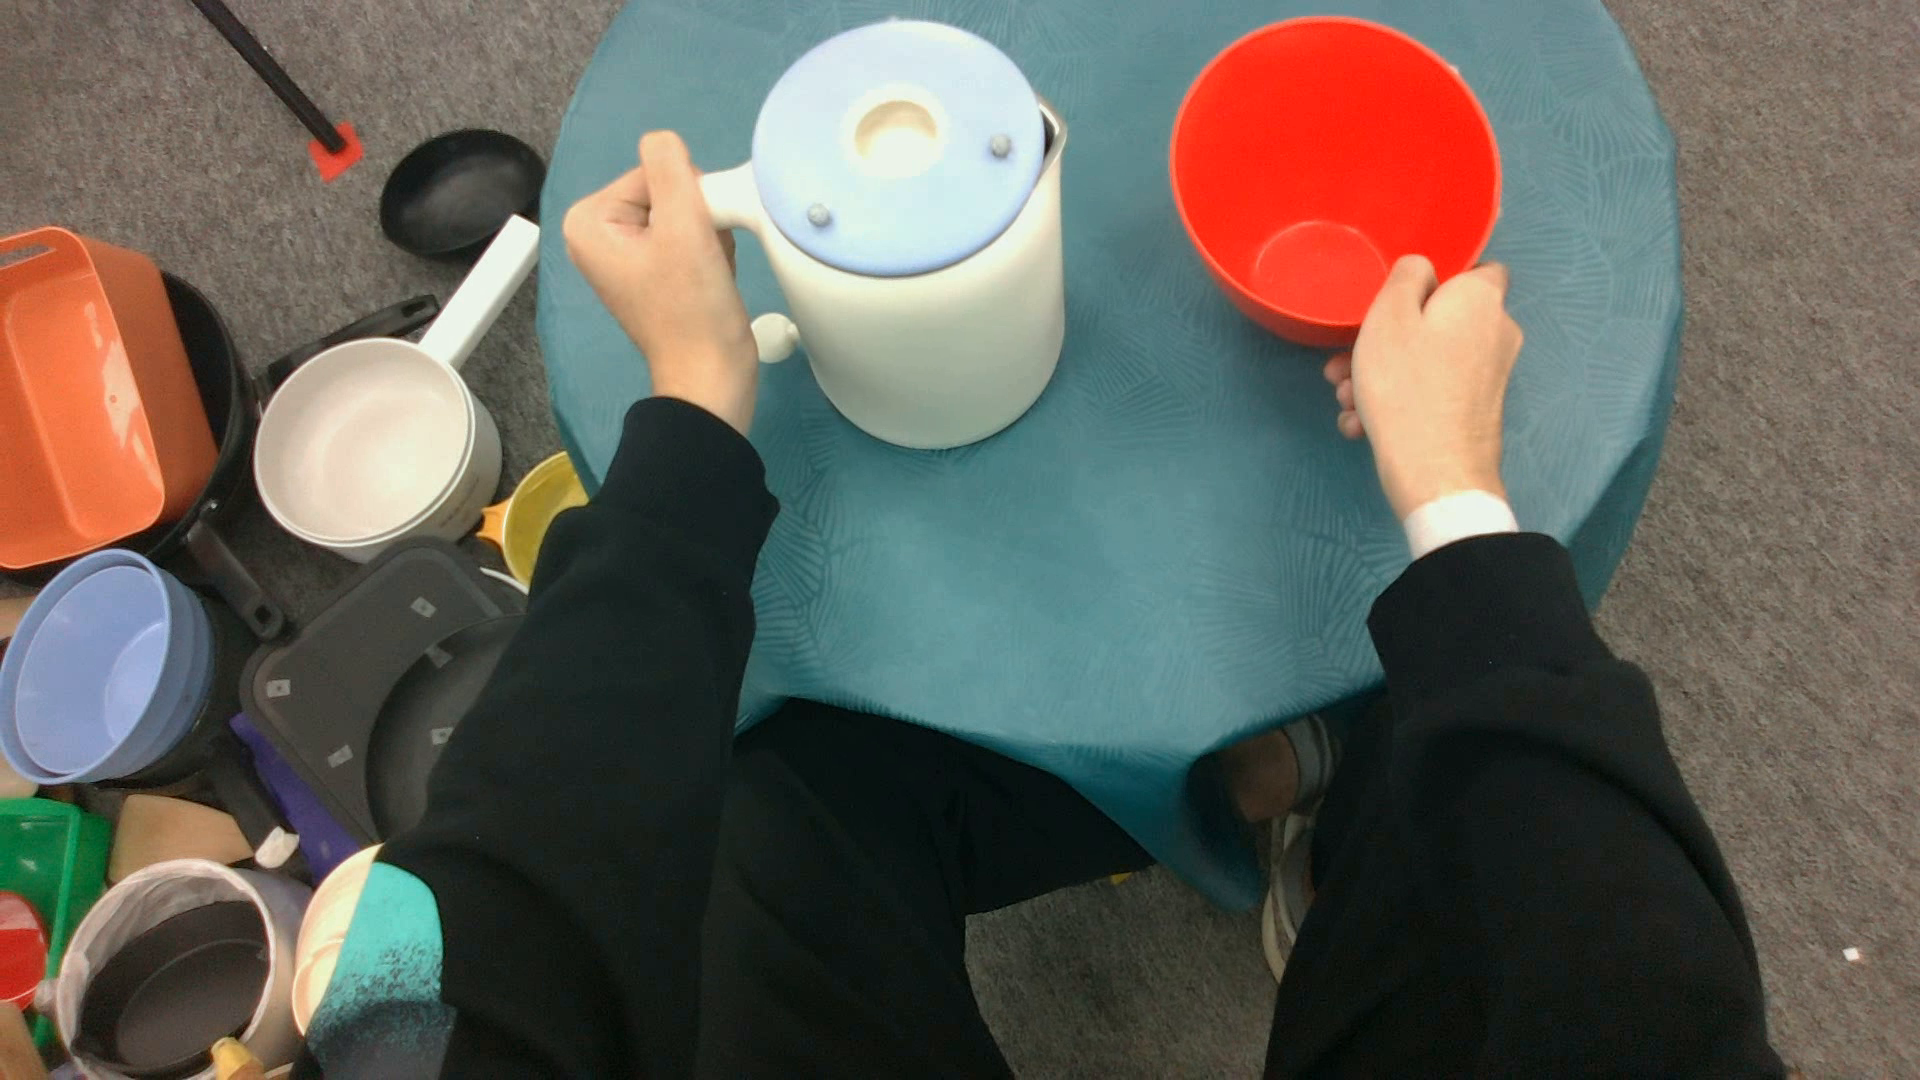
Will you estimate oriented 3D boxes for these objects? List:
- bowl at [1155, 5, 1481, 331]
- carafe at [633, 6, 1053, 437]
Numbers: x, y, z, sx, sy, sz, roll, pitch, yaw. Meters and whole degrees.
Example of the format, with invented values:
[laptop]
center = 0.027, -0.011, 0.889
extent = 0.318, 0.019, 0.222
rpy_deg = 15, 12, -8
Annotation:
[bowl]
center = 0.165, -0.163, 0.660
extent = 0.148, 0.104, 0.148
rpy_deg = -1, 70, 4
[carafe]
center = -0.049, -0.134, 0.630
extent = 0.191, 0.182, 0.132
rpy_deg = -9, 69, 4
